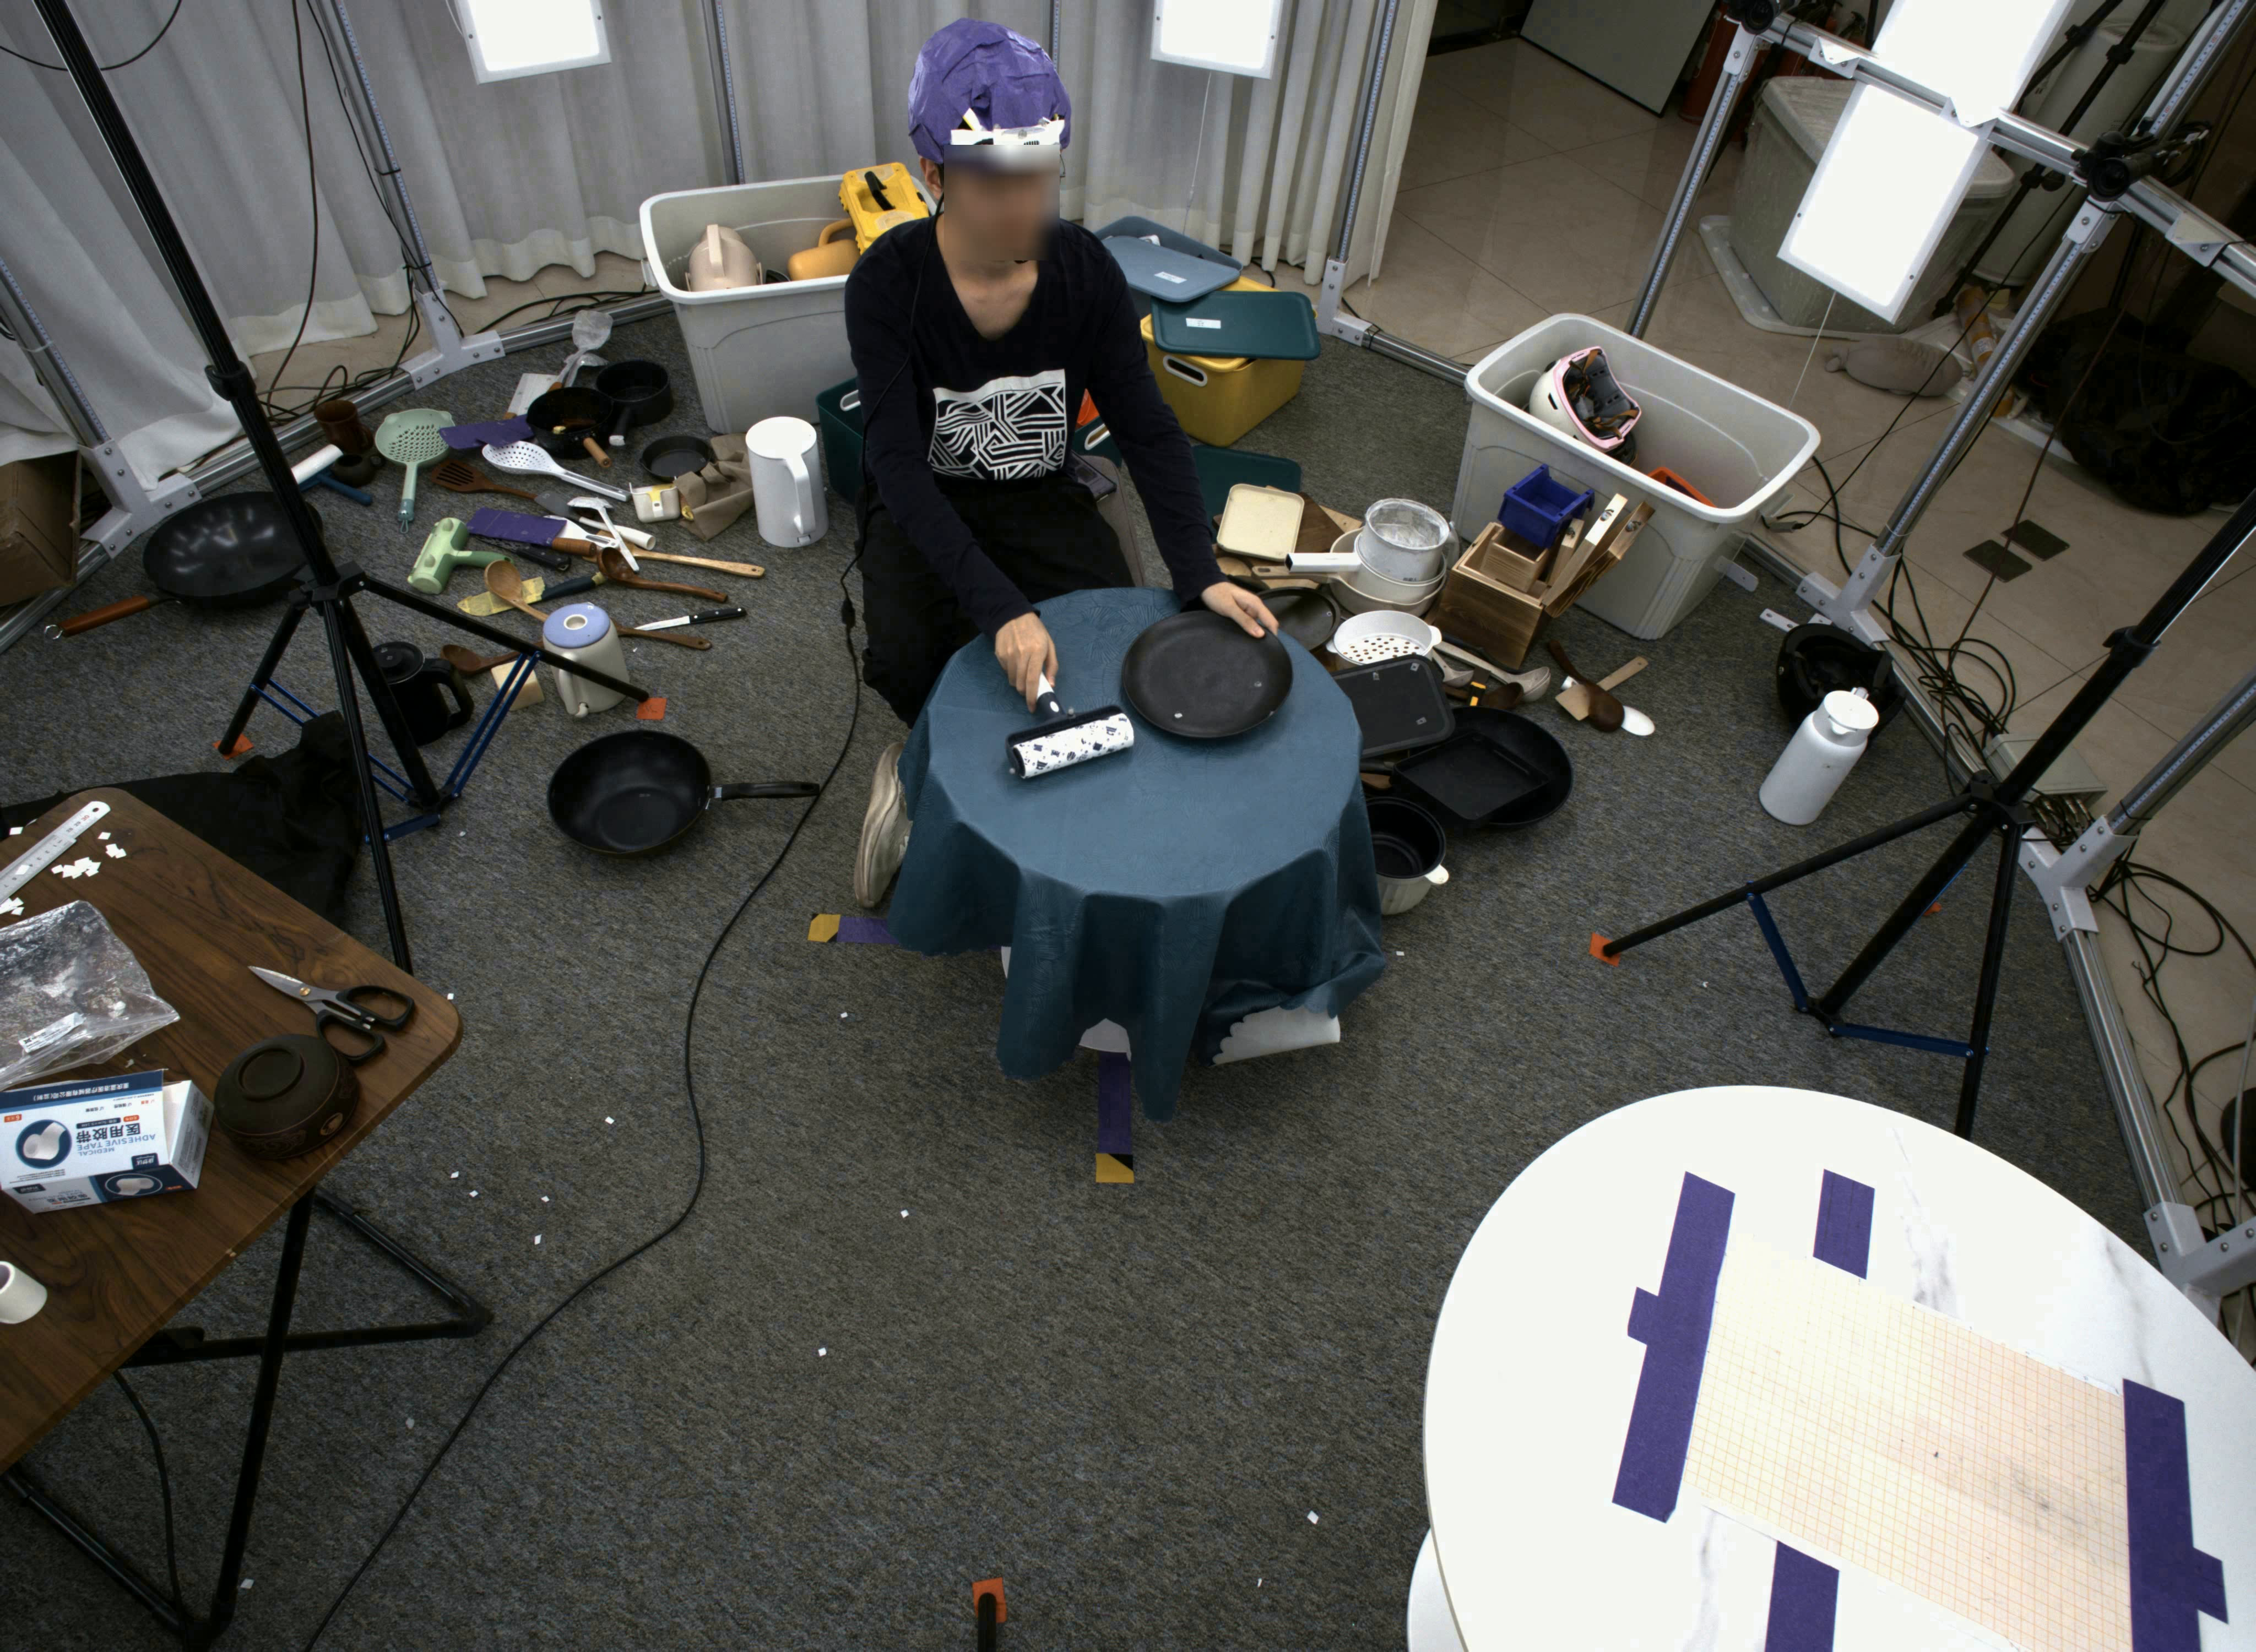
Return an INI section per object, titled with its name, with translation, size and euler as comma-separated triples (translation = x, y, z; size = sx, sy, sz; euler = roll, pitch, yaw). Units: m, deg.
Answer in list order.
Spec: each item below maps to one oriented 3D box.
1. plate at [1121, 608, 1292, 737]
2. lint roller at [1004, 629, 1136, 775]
[plate]
translation = 0.112, -0.217, 1.834
size = 0.244, 0.023, 0.250
euler = -2, 53, 2
[lint roller]
translation = -0.117, -0.188, 1.777
size = 0.176, 0.049, 0.252
euler = -18, 57, -19
